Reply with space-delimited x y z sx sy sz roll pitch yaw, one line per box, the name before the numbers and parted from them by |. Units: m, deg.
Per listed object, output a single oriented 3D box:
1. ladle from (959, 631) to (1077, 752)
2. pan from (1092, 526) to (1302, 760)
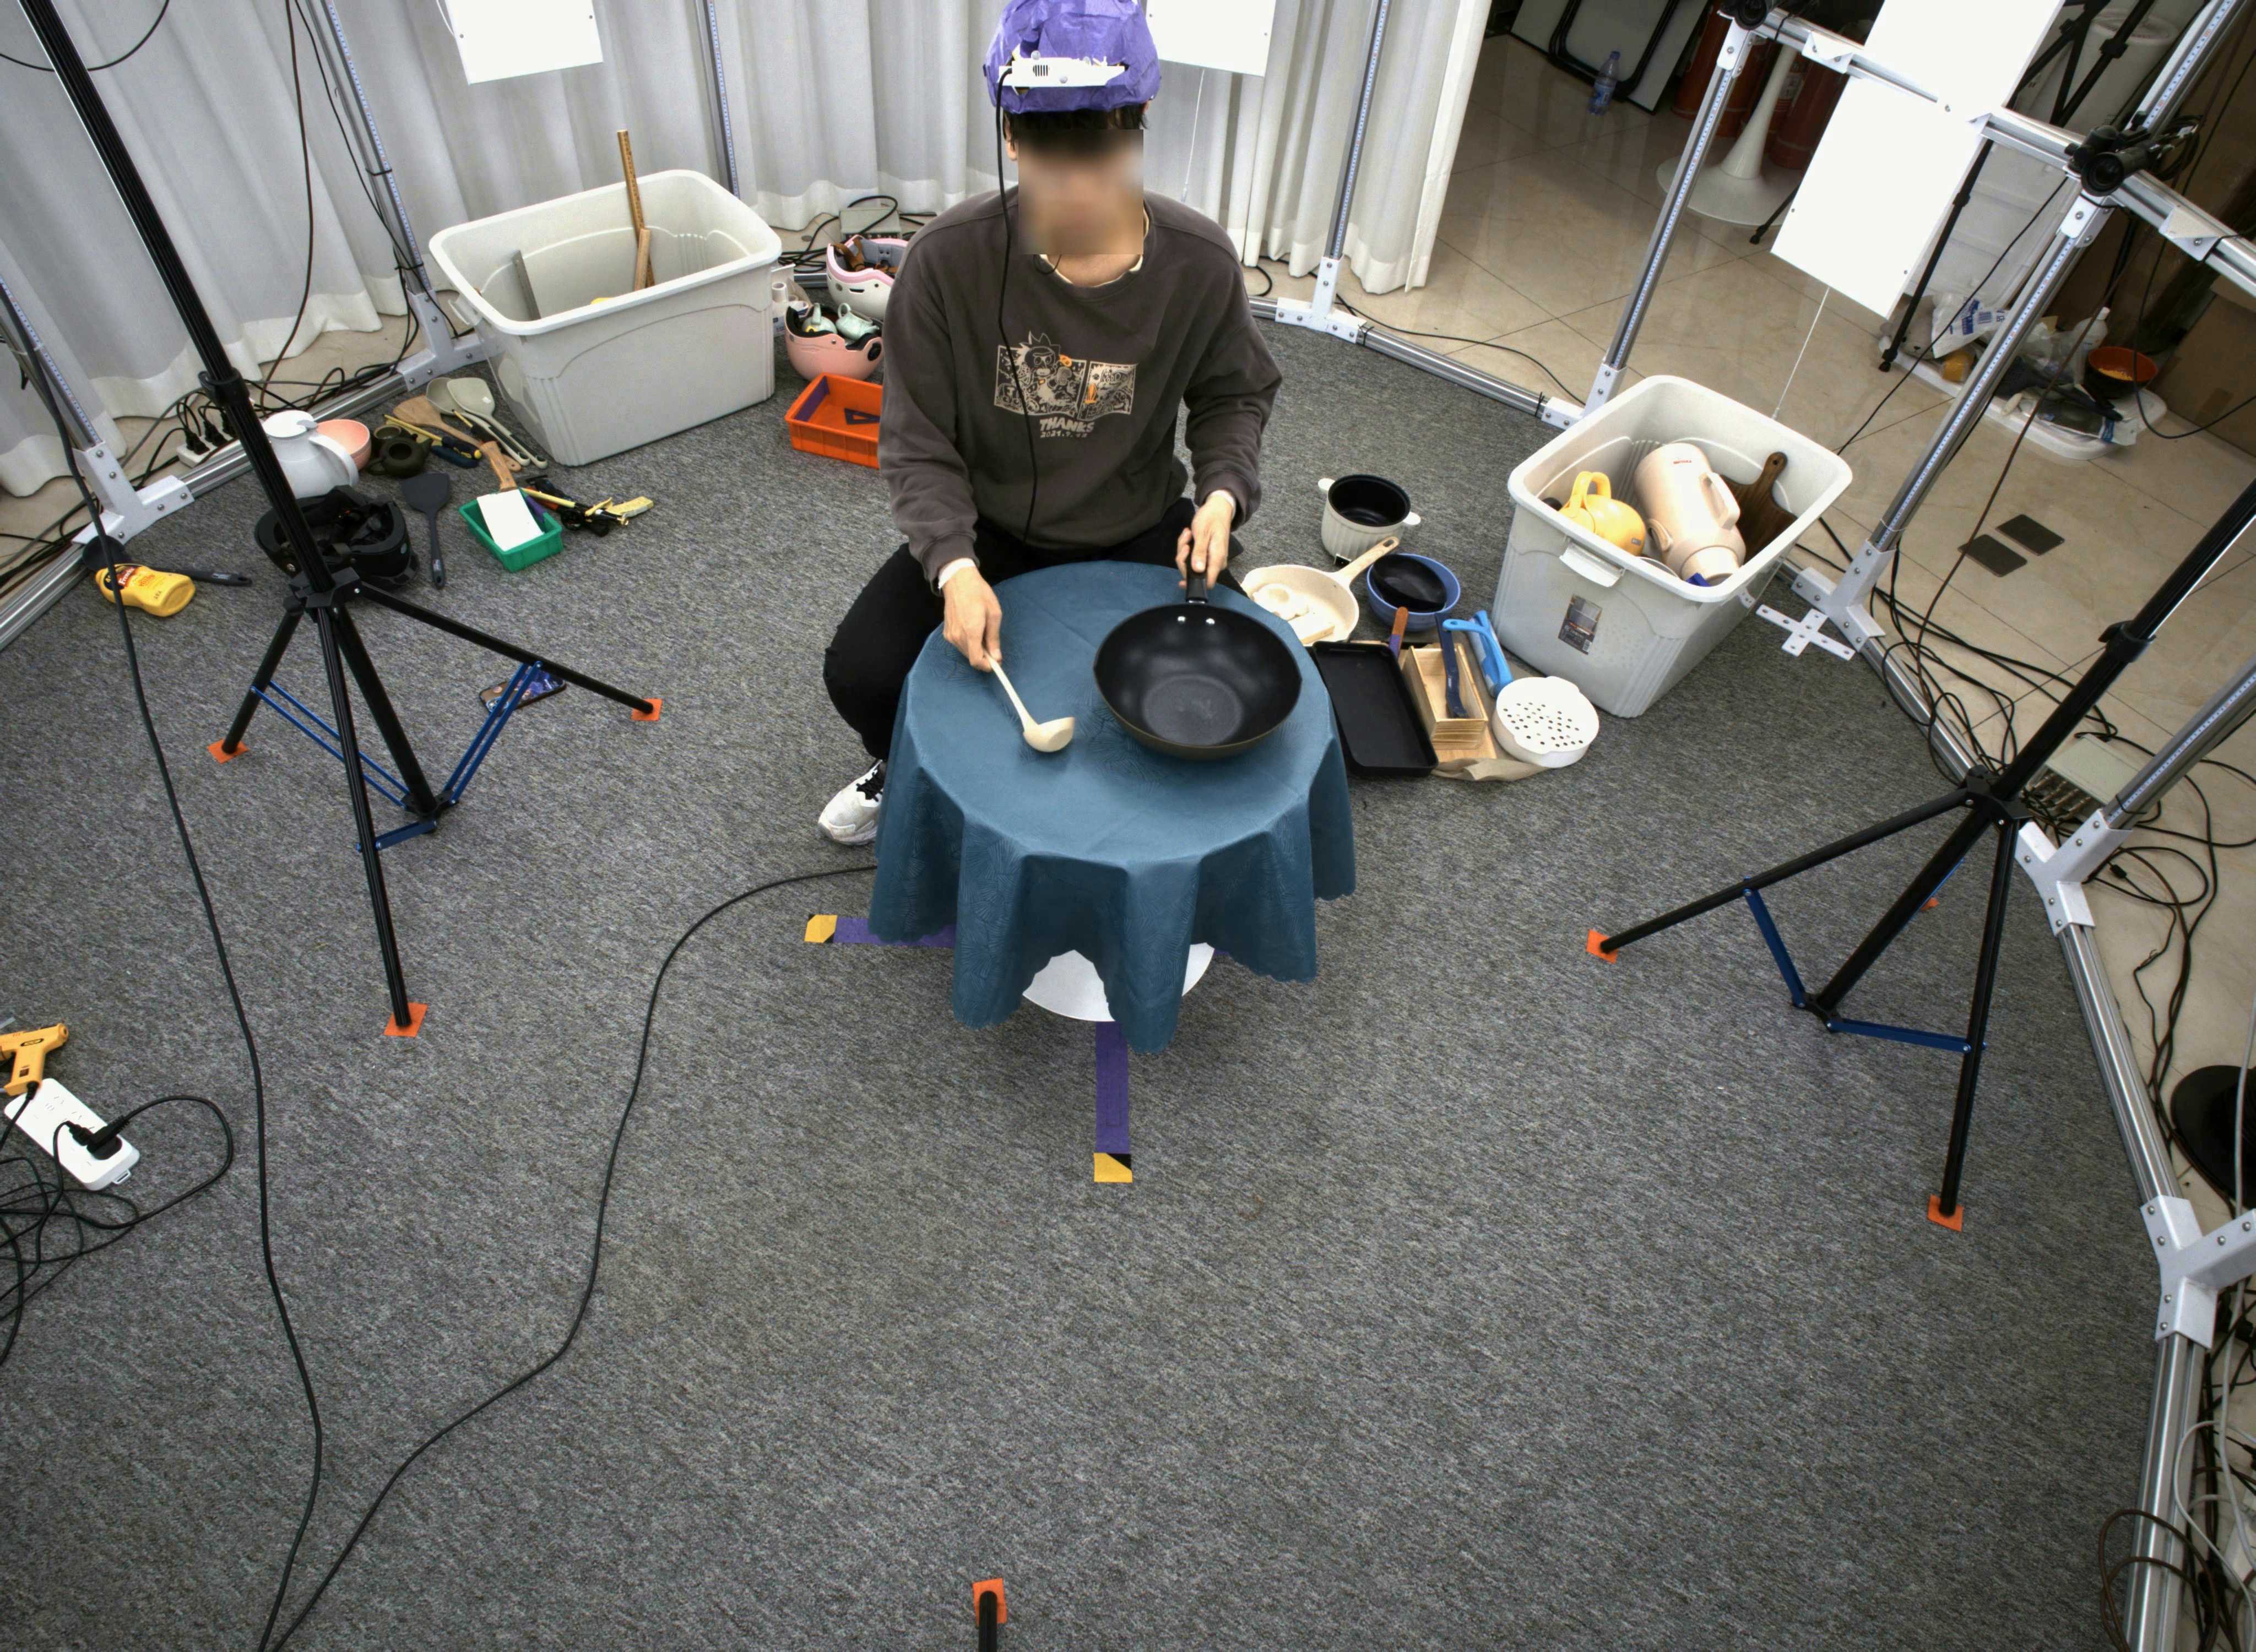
ladle | -0.156 -0.207 1.771 0.072 0.071 0.259 -16 59 -37
pan | 0.096 -0.257 1.837 0.288 0.085 0.475 3 49 -1
